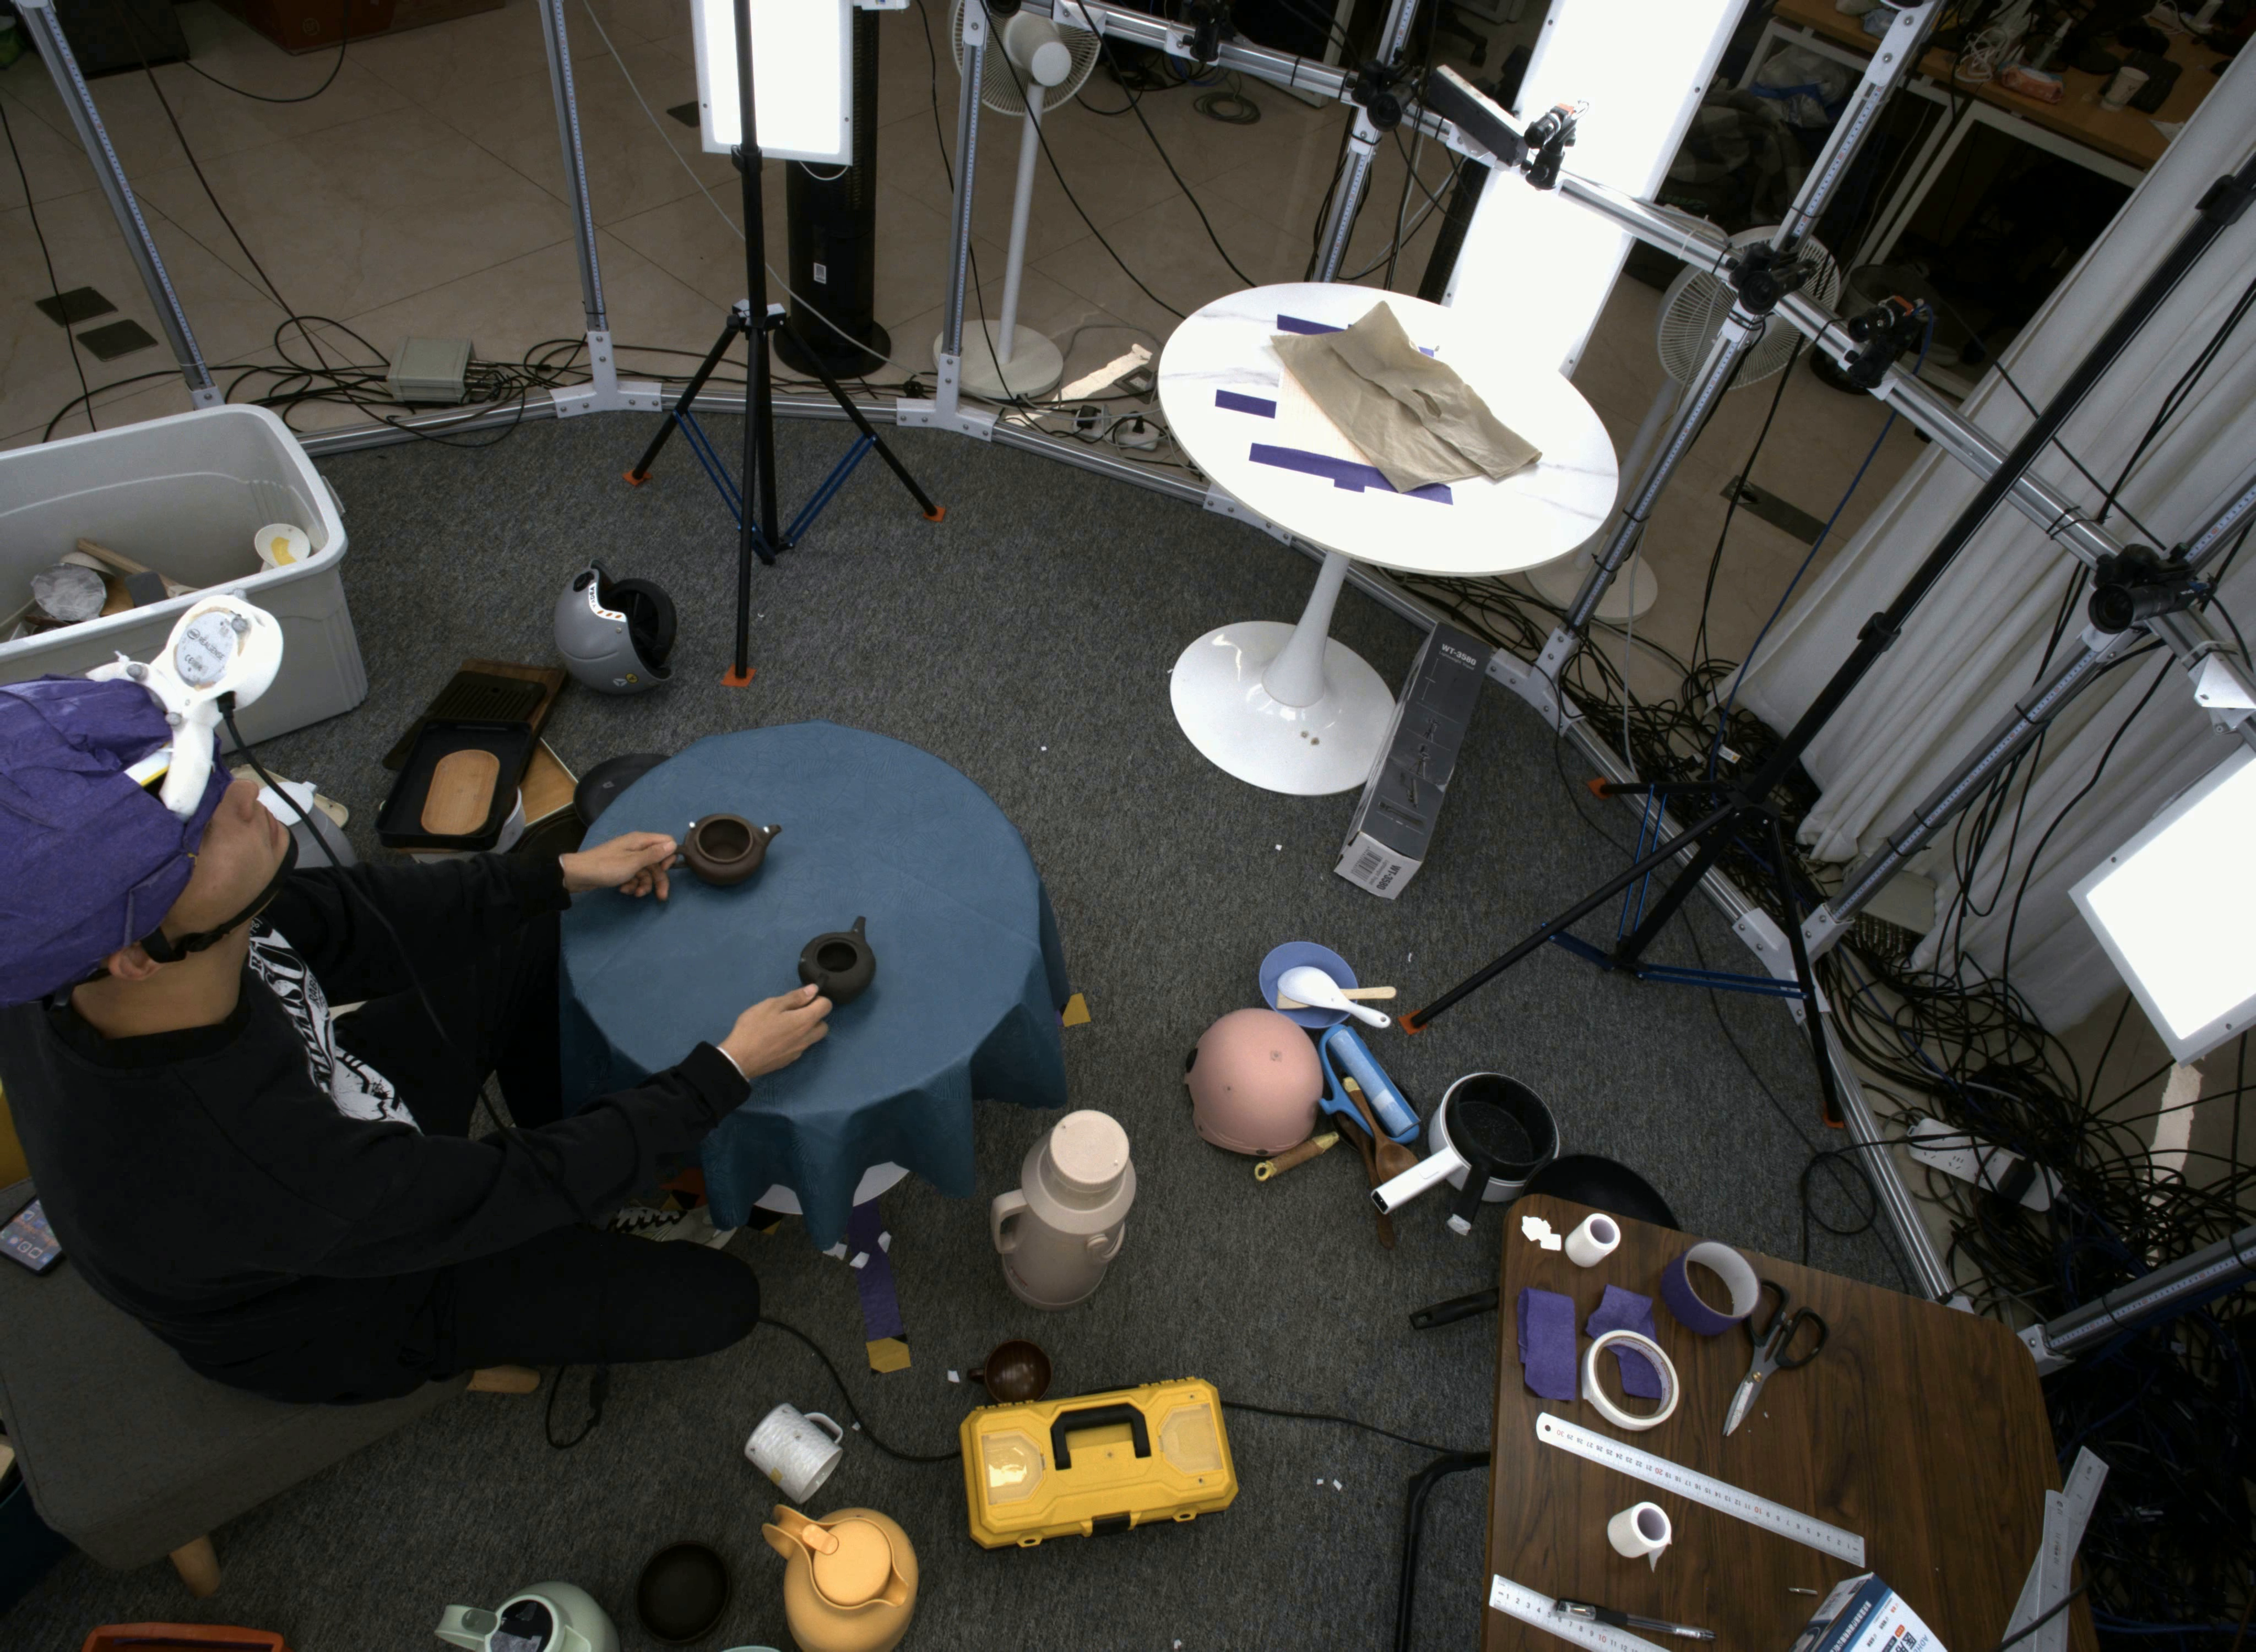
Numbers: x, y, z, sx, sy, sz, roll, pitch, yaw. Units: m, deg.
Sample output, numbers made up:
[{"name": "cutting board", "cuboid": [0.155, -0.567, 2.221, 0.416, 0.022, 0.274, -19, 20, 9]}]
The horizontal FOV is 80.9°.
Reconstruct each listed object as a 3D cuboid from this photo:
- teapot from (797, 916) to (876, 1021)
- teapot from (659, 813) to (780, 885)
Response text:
[{"name": "teapot", "cuboid": [-0.353, 0.172, 1.567, 0.091, 0.066, 0.153, 18, 45, 6]}, {"name": "teapot", "cuboid": [-0.517, 0.027, 1.637, 0.155, 0.055, 0.100, -17, 60, -30]}]
